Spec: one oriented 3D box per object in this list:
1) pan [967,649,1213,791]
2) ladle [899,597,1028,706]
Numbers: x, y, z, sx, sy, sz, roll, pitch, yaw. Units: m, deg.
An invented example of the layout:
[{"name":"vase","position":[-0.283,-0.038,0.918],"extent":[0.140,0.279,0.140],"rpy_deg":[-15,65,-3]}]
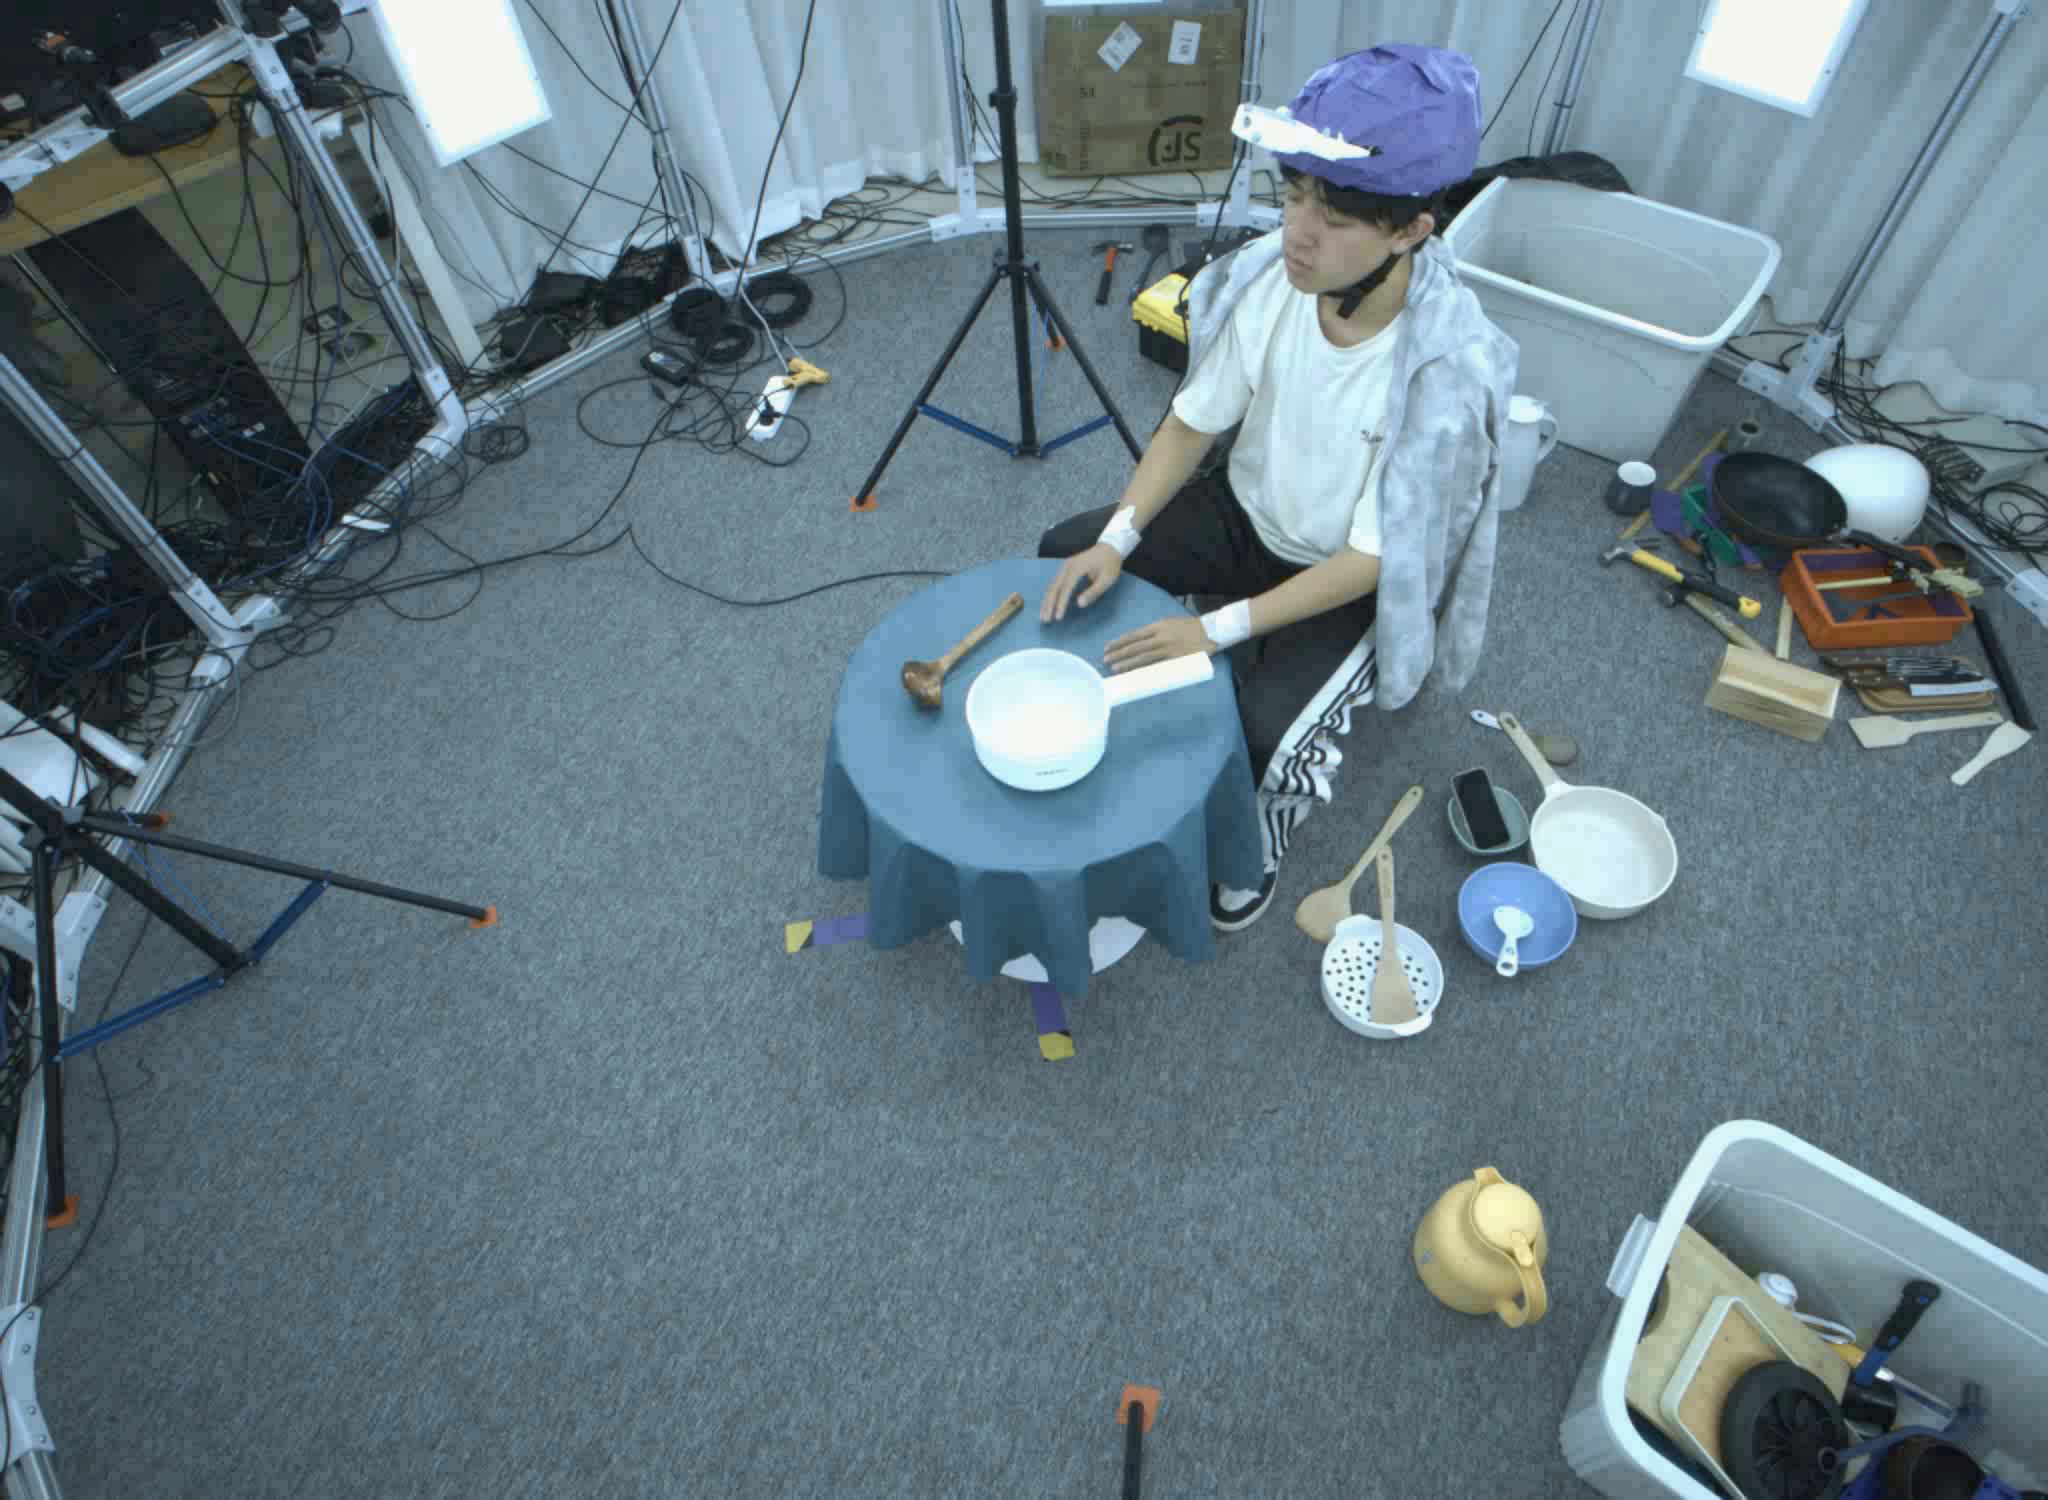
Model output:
[{"name":"pan","position":[0.096,-0.057,1.768],"extent":[0.357,0.103,0.198],"rpy_deg":[-14,54,-9]},{"name":"ladle","position":[-0.082,-0.162,1.865],"extent":[0.276,0.075,0.083],"rpy_deg":[-39,108,-25]}]
